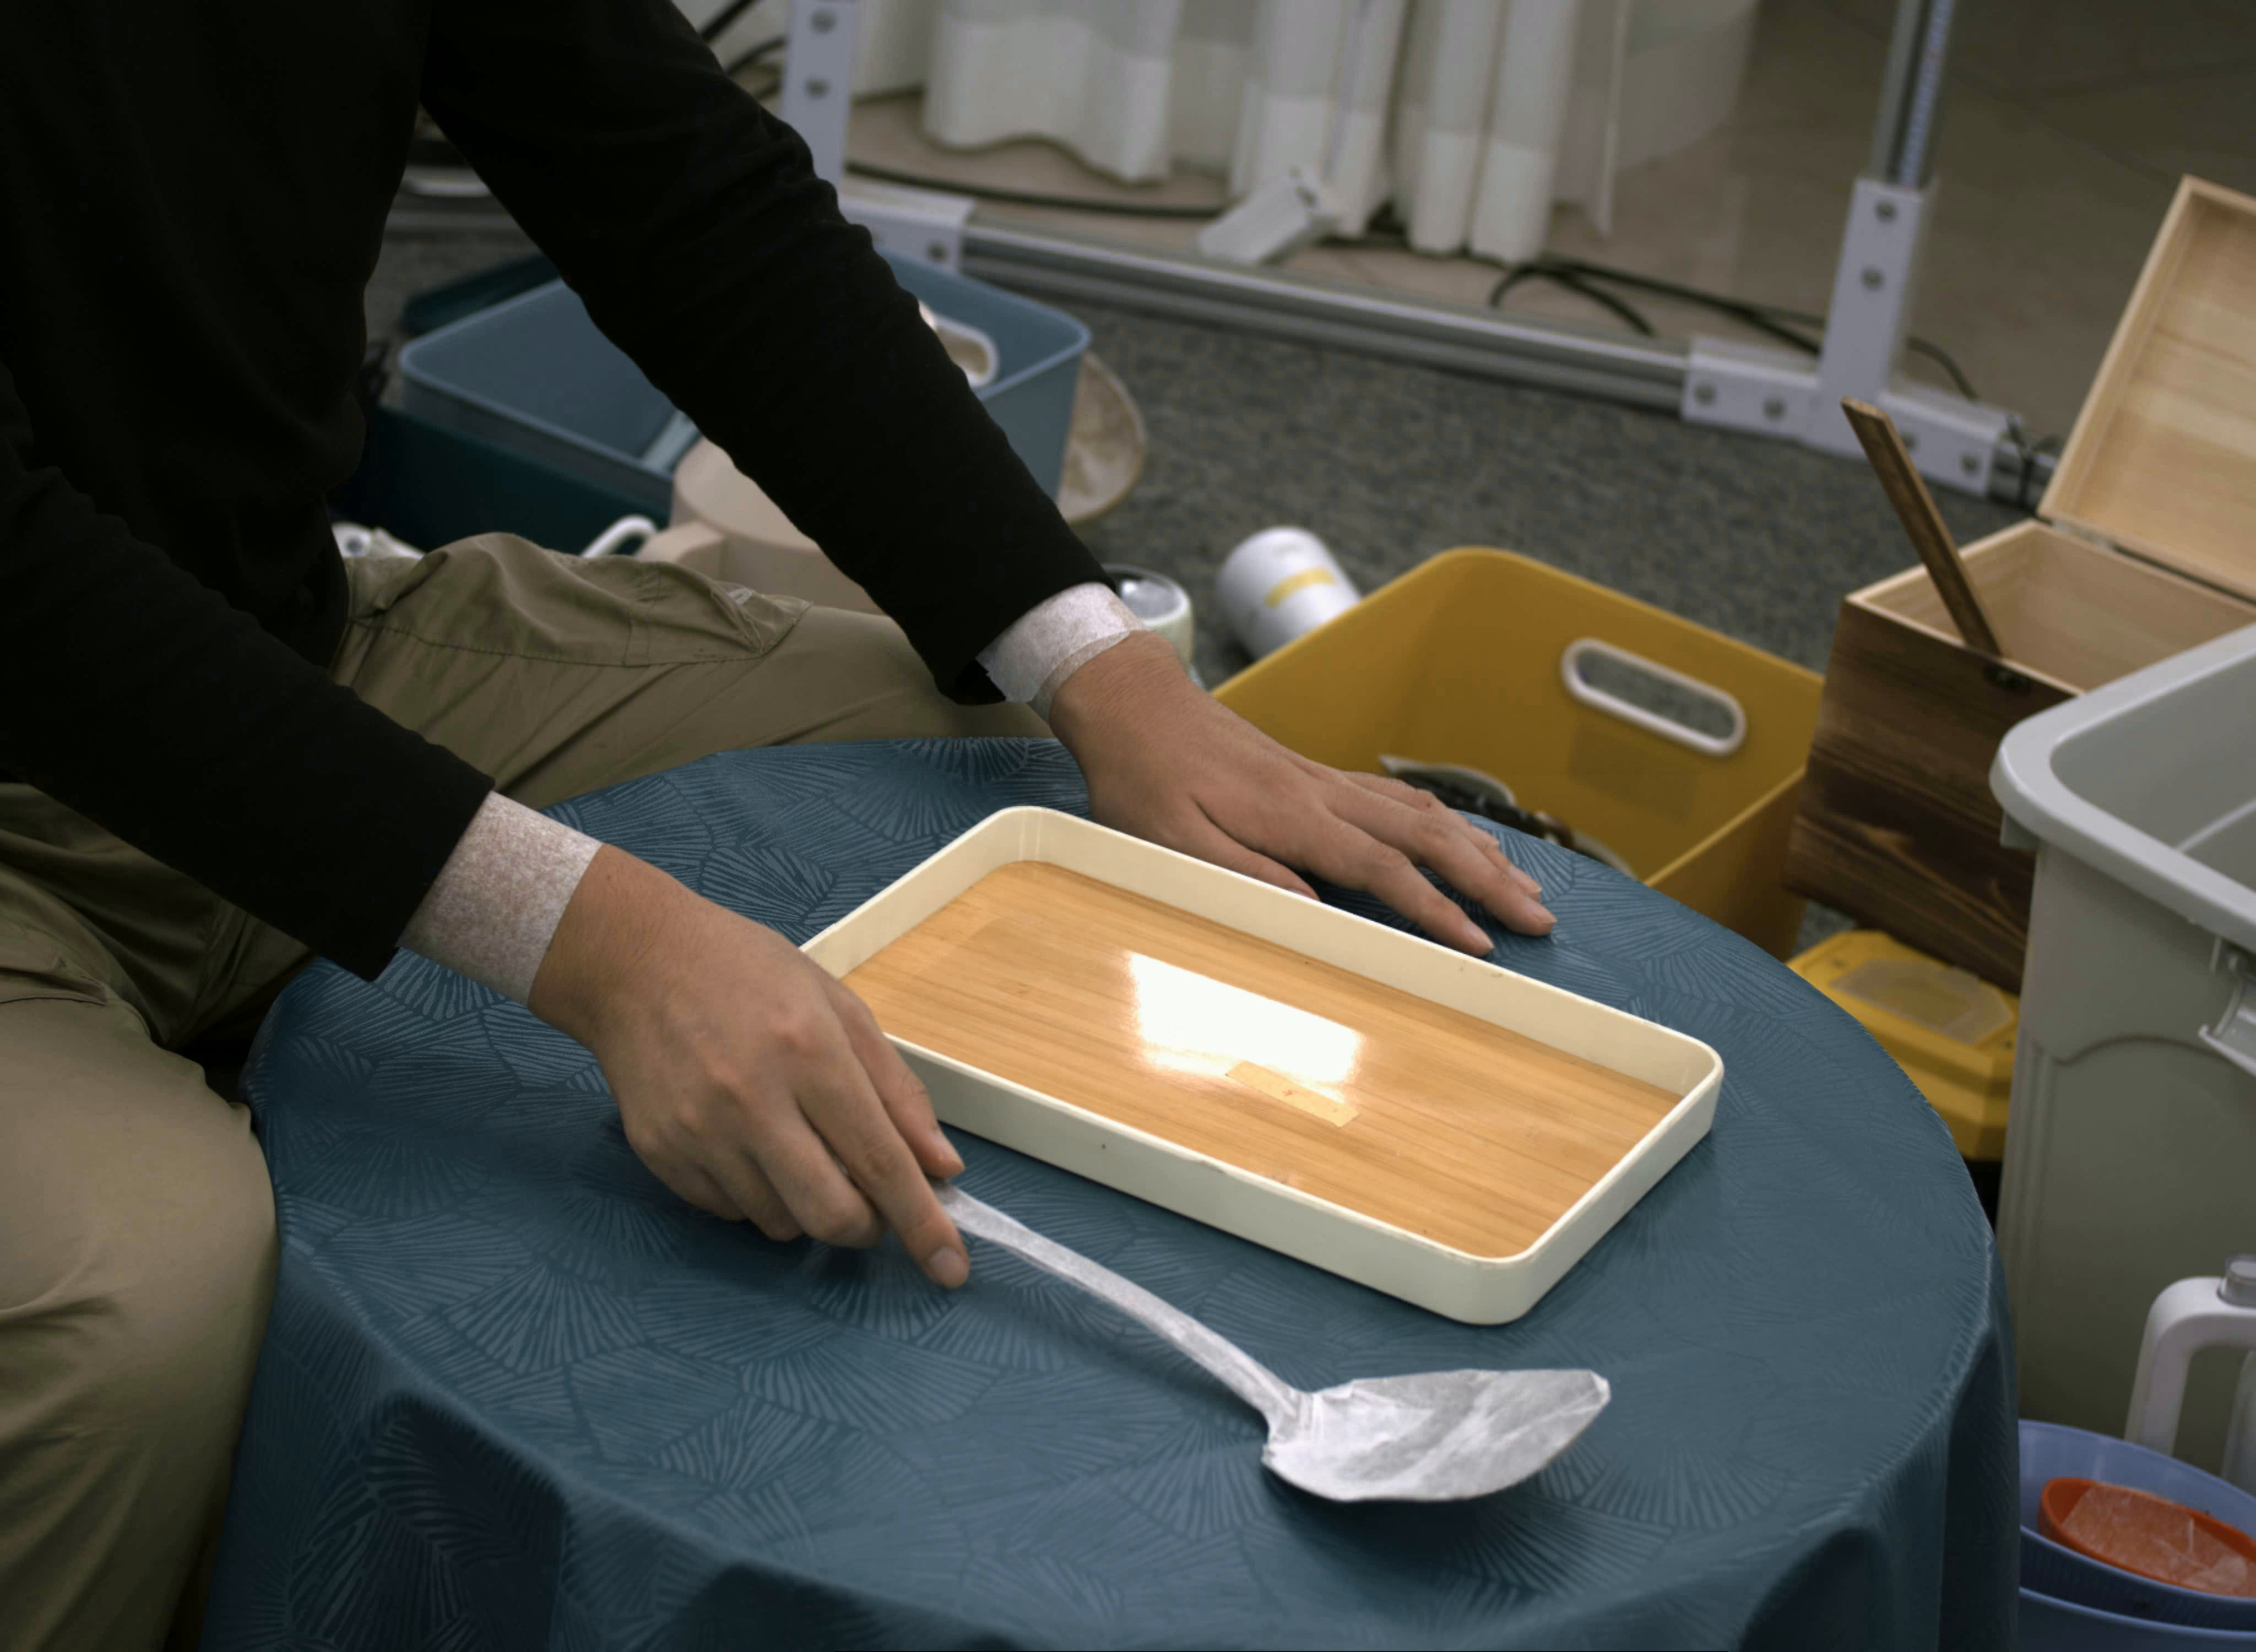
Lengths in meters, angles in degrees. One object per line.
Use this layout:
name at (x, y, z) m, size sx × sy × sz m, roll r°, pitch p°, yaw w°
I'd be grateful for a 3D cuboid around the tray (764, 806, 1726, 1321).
tray at (0.041, 0.079, 1.870) m, size 0.301 × 0.027 × 0.191 m, roll 20°, pitch 30°, yaw 24°

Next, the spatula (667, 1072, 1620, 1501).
spatula at (-0.013, 0.140, 1.716) m, size 0.367 × 0.044 × 0.098 m, roll 25°, pitch 32°, yaw 27°
